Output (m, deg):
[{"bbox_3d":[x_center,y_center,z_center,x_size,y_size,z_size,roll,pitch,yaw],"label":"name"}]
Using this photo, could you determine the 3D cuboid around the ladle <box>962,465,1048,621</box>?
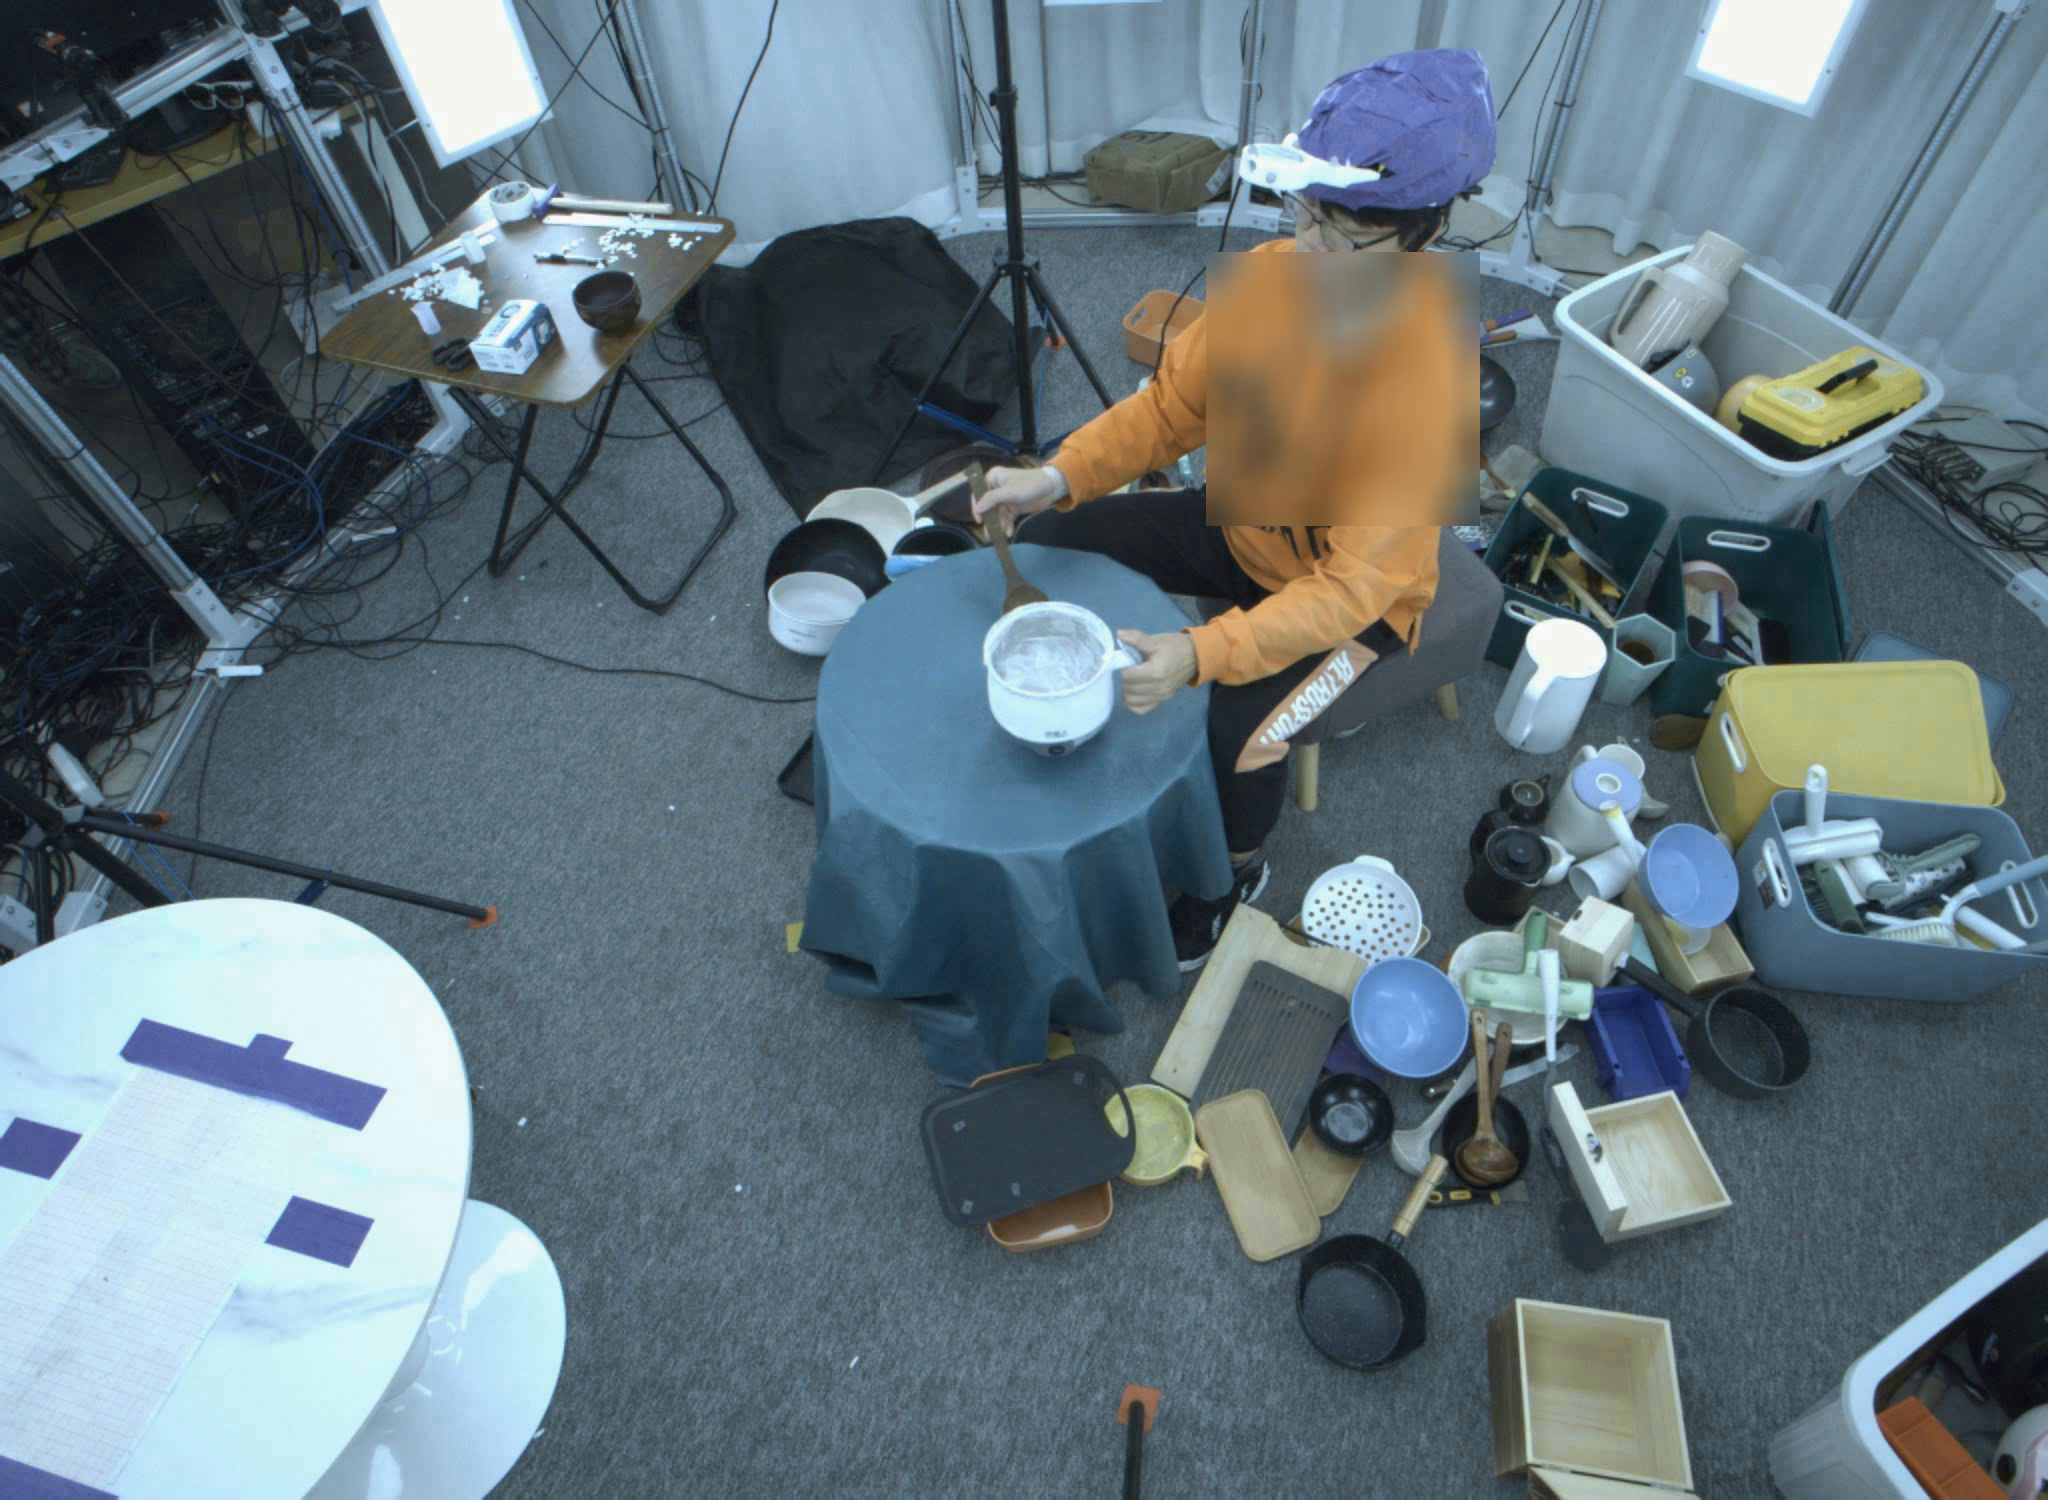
[{"bbox_3d":[-0.039,-0.315,1.866,0.076,0.071,0.274,-21,92,-3],"label":"ladle"}]

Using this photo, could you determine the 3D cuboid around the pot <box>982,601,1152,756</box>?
[{"bbox_3d":[0.062,-0.101,1.710,0.234,0.138,0.176,-6,53,-2],"label":"pot"}]
